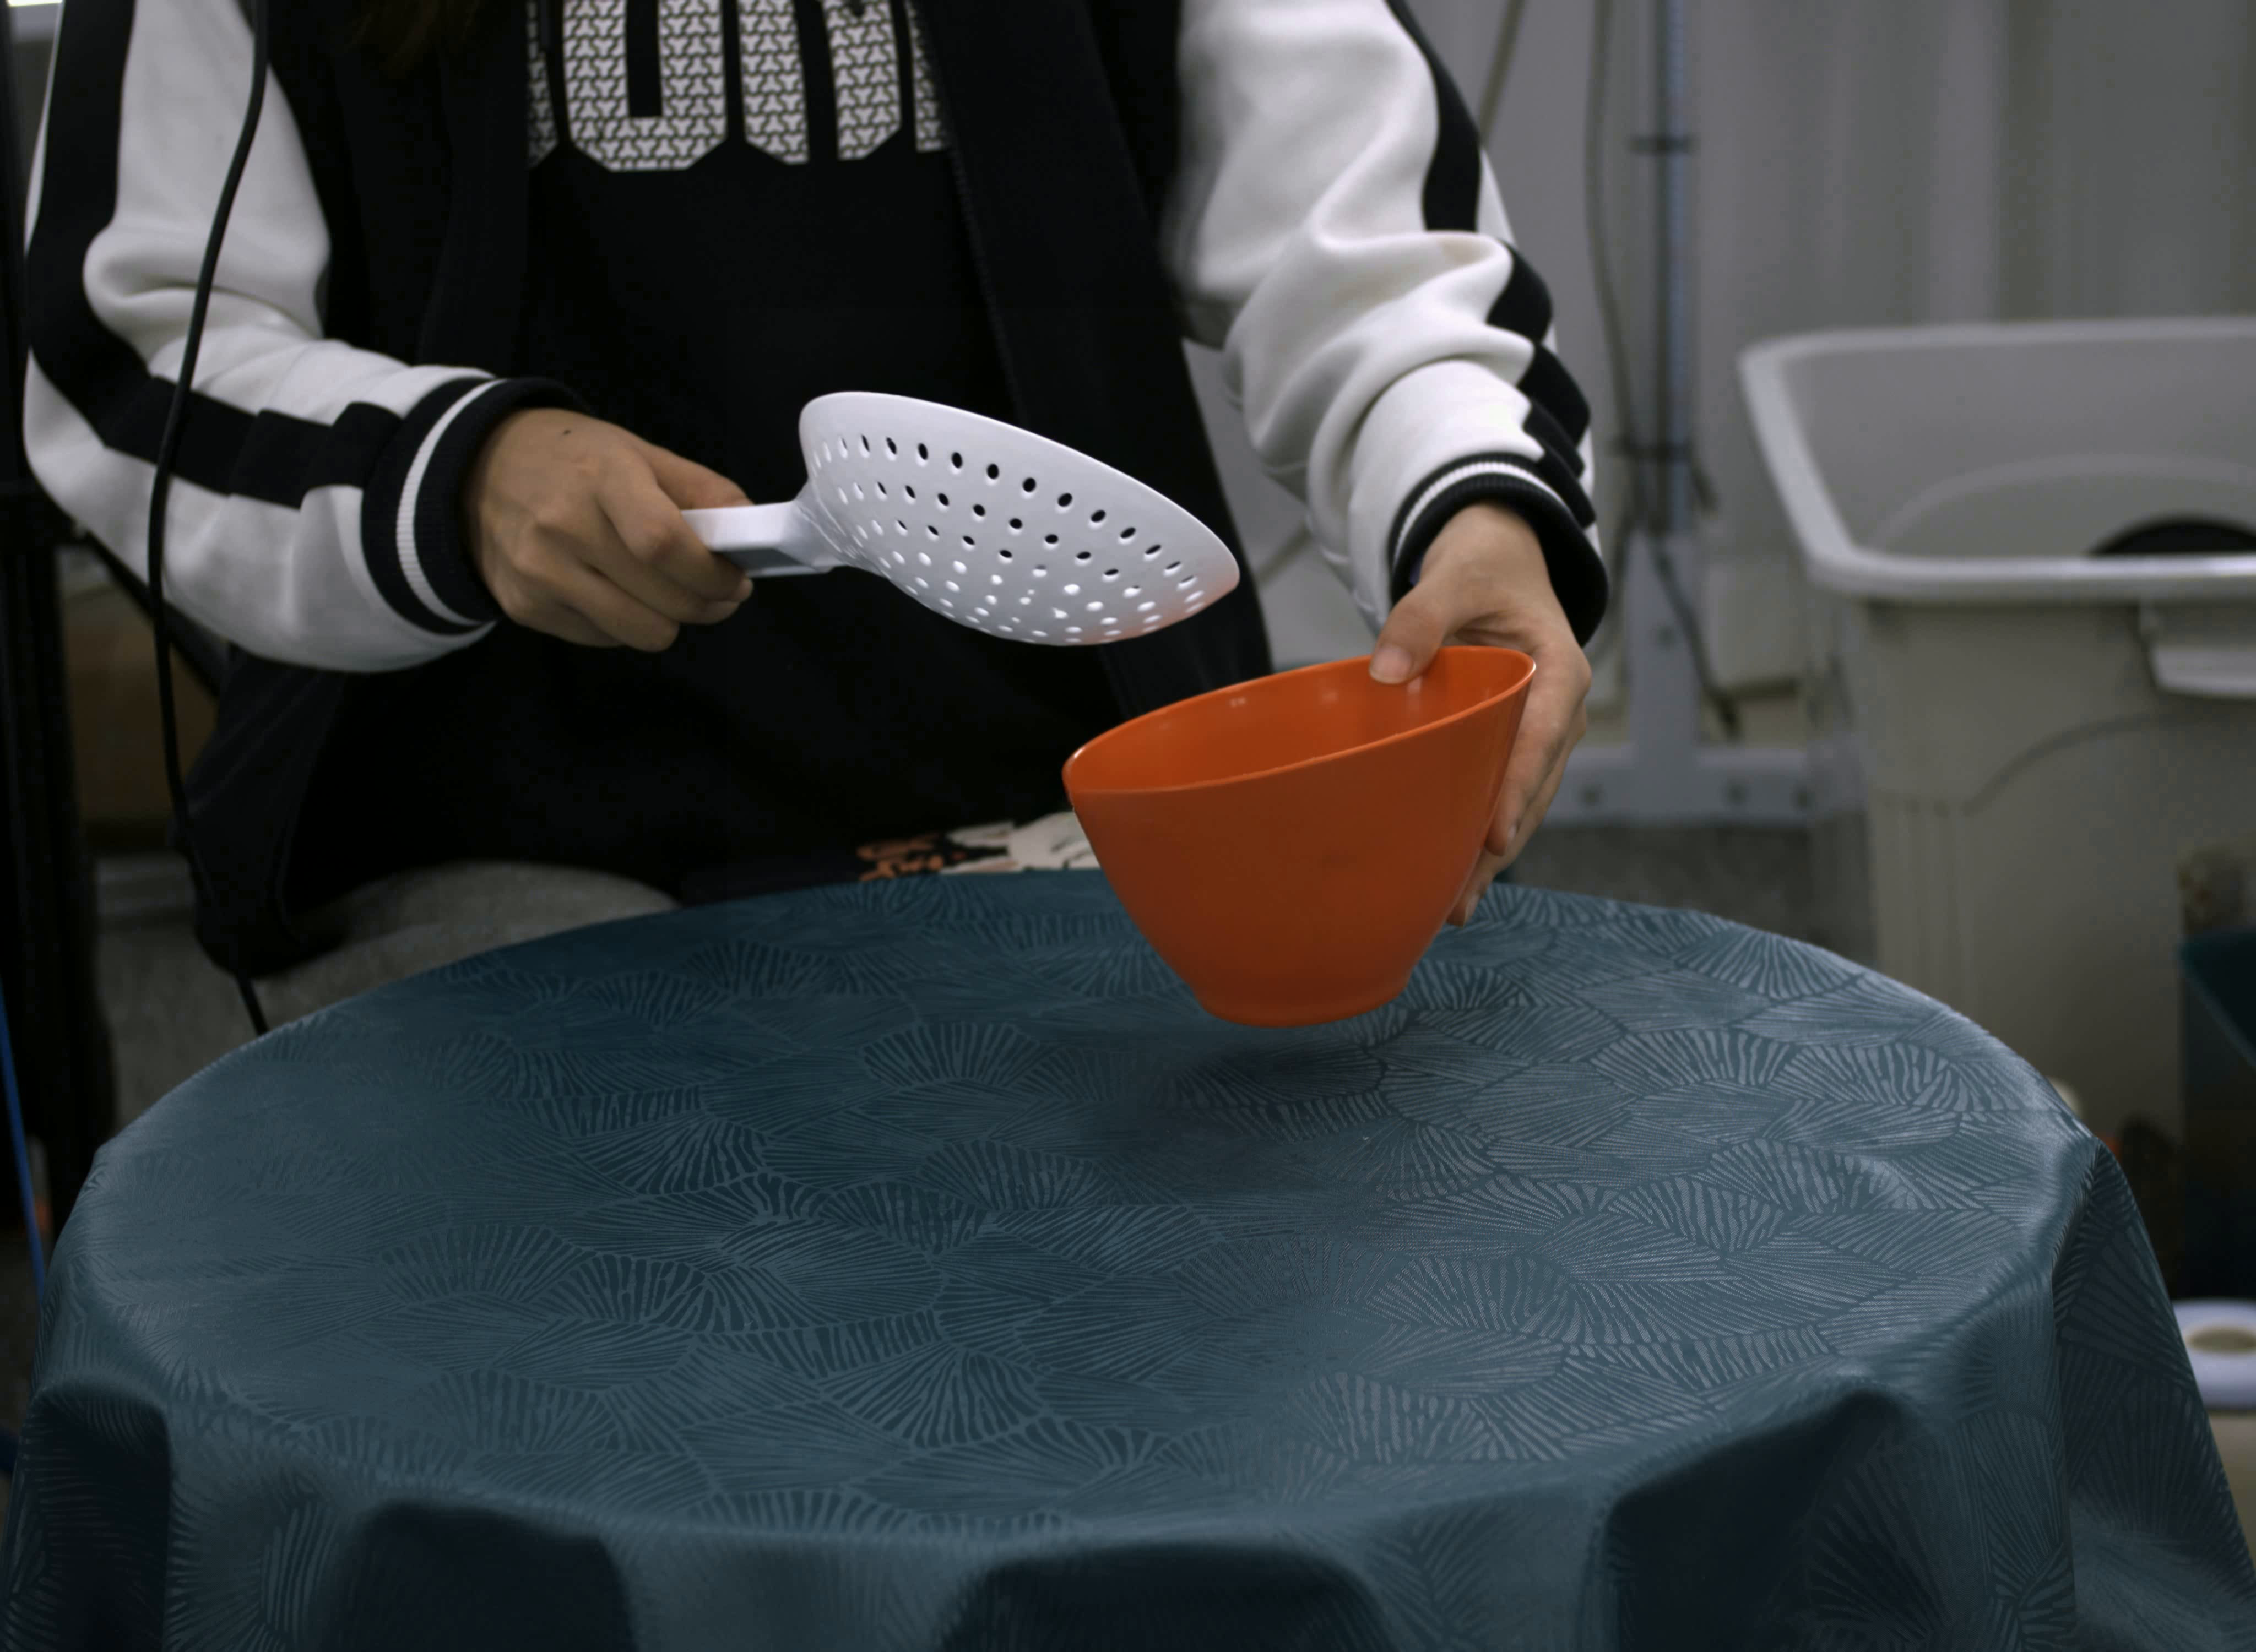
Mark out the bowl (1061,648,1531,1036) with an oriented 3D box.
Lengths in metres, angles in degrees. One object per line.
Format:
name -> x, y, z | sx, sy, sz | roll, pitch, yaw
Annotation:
bowl -> 0.056, 0.007, 1.632 | 0.147, 0.104, 0.149 | -9, 19, 2

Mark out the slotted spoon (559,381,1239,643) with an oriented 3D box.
slotted spoon -> -0.090, -0.090, 1.646 | 0.133, 0.046, 0.356 | 29, -10, -28
